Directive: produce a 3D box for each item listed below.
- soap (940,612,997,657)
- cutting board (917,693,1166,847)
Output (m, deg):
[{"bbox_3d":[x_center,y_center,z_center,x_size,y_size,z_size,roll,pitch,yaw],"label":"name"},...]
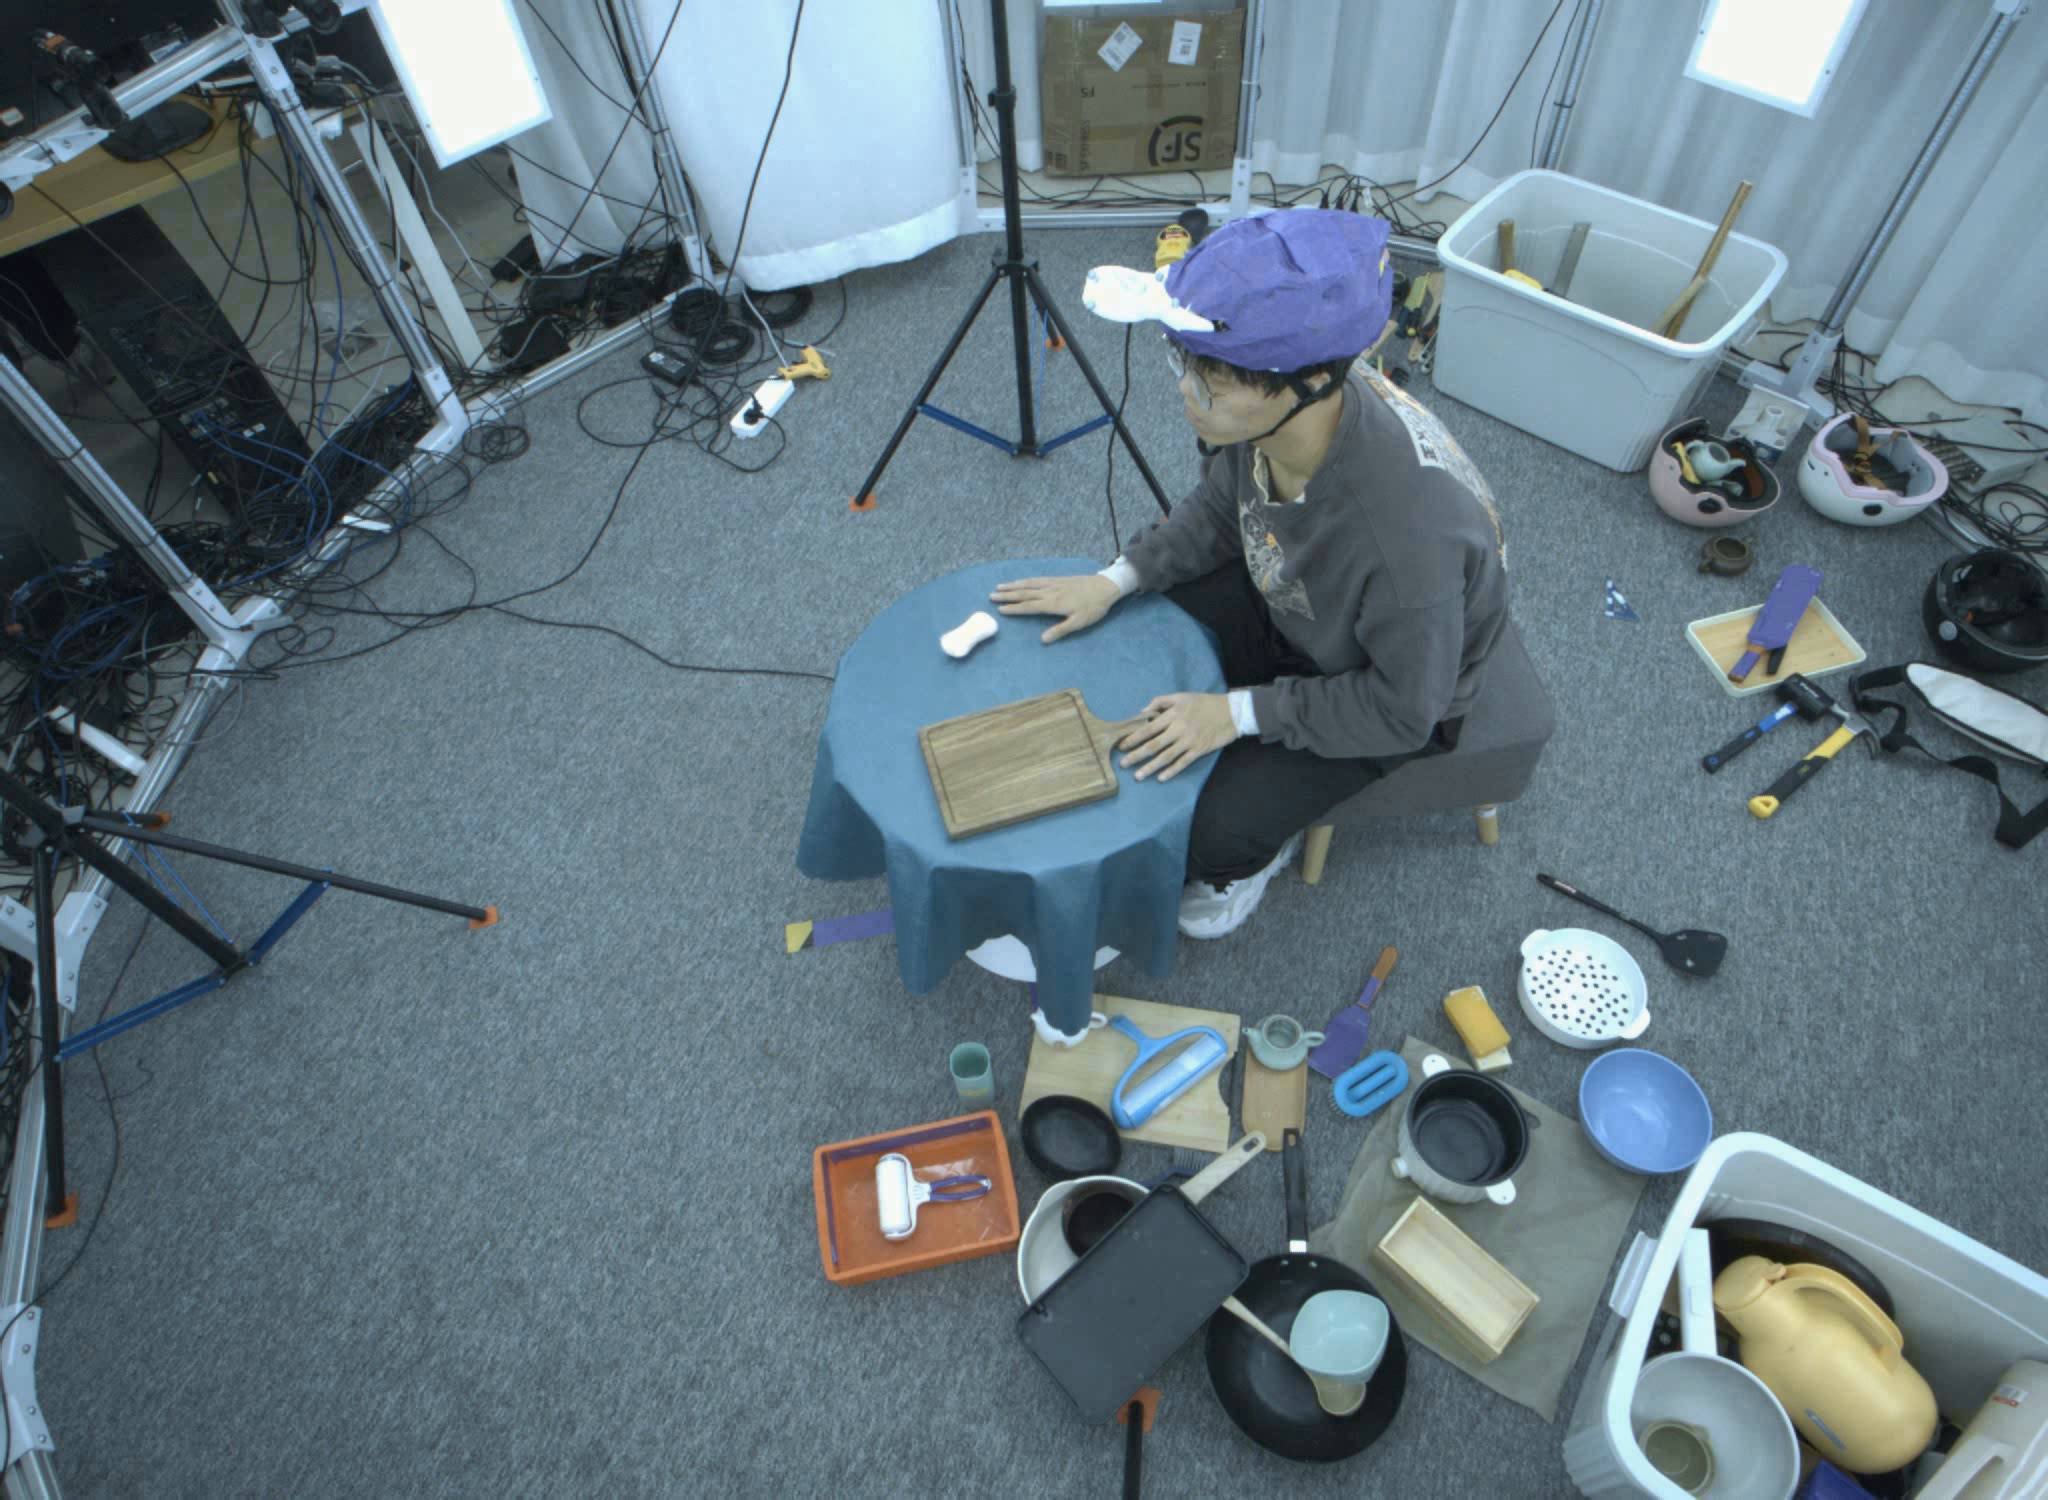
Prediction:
[{"bbox_3d":[-0.086,-0.179,1.900,0.095,0.031,0.049,-37,61,-24],"label":"soap"},{"bbox_3d":[0.036,0.012,1.762,0.354,0.023,0.198,-14,55,-8],"label":"cutting board"}]
